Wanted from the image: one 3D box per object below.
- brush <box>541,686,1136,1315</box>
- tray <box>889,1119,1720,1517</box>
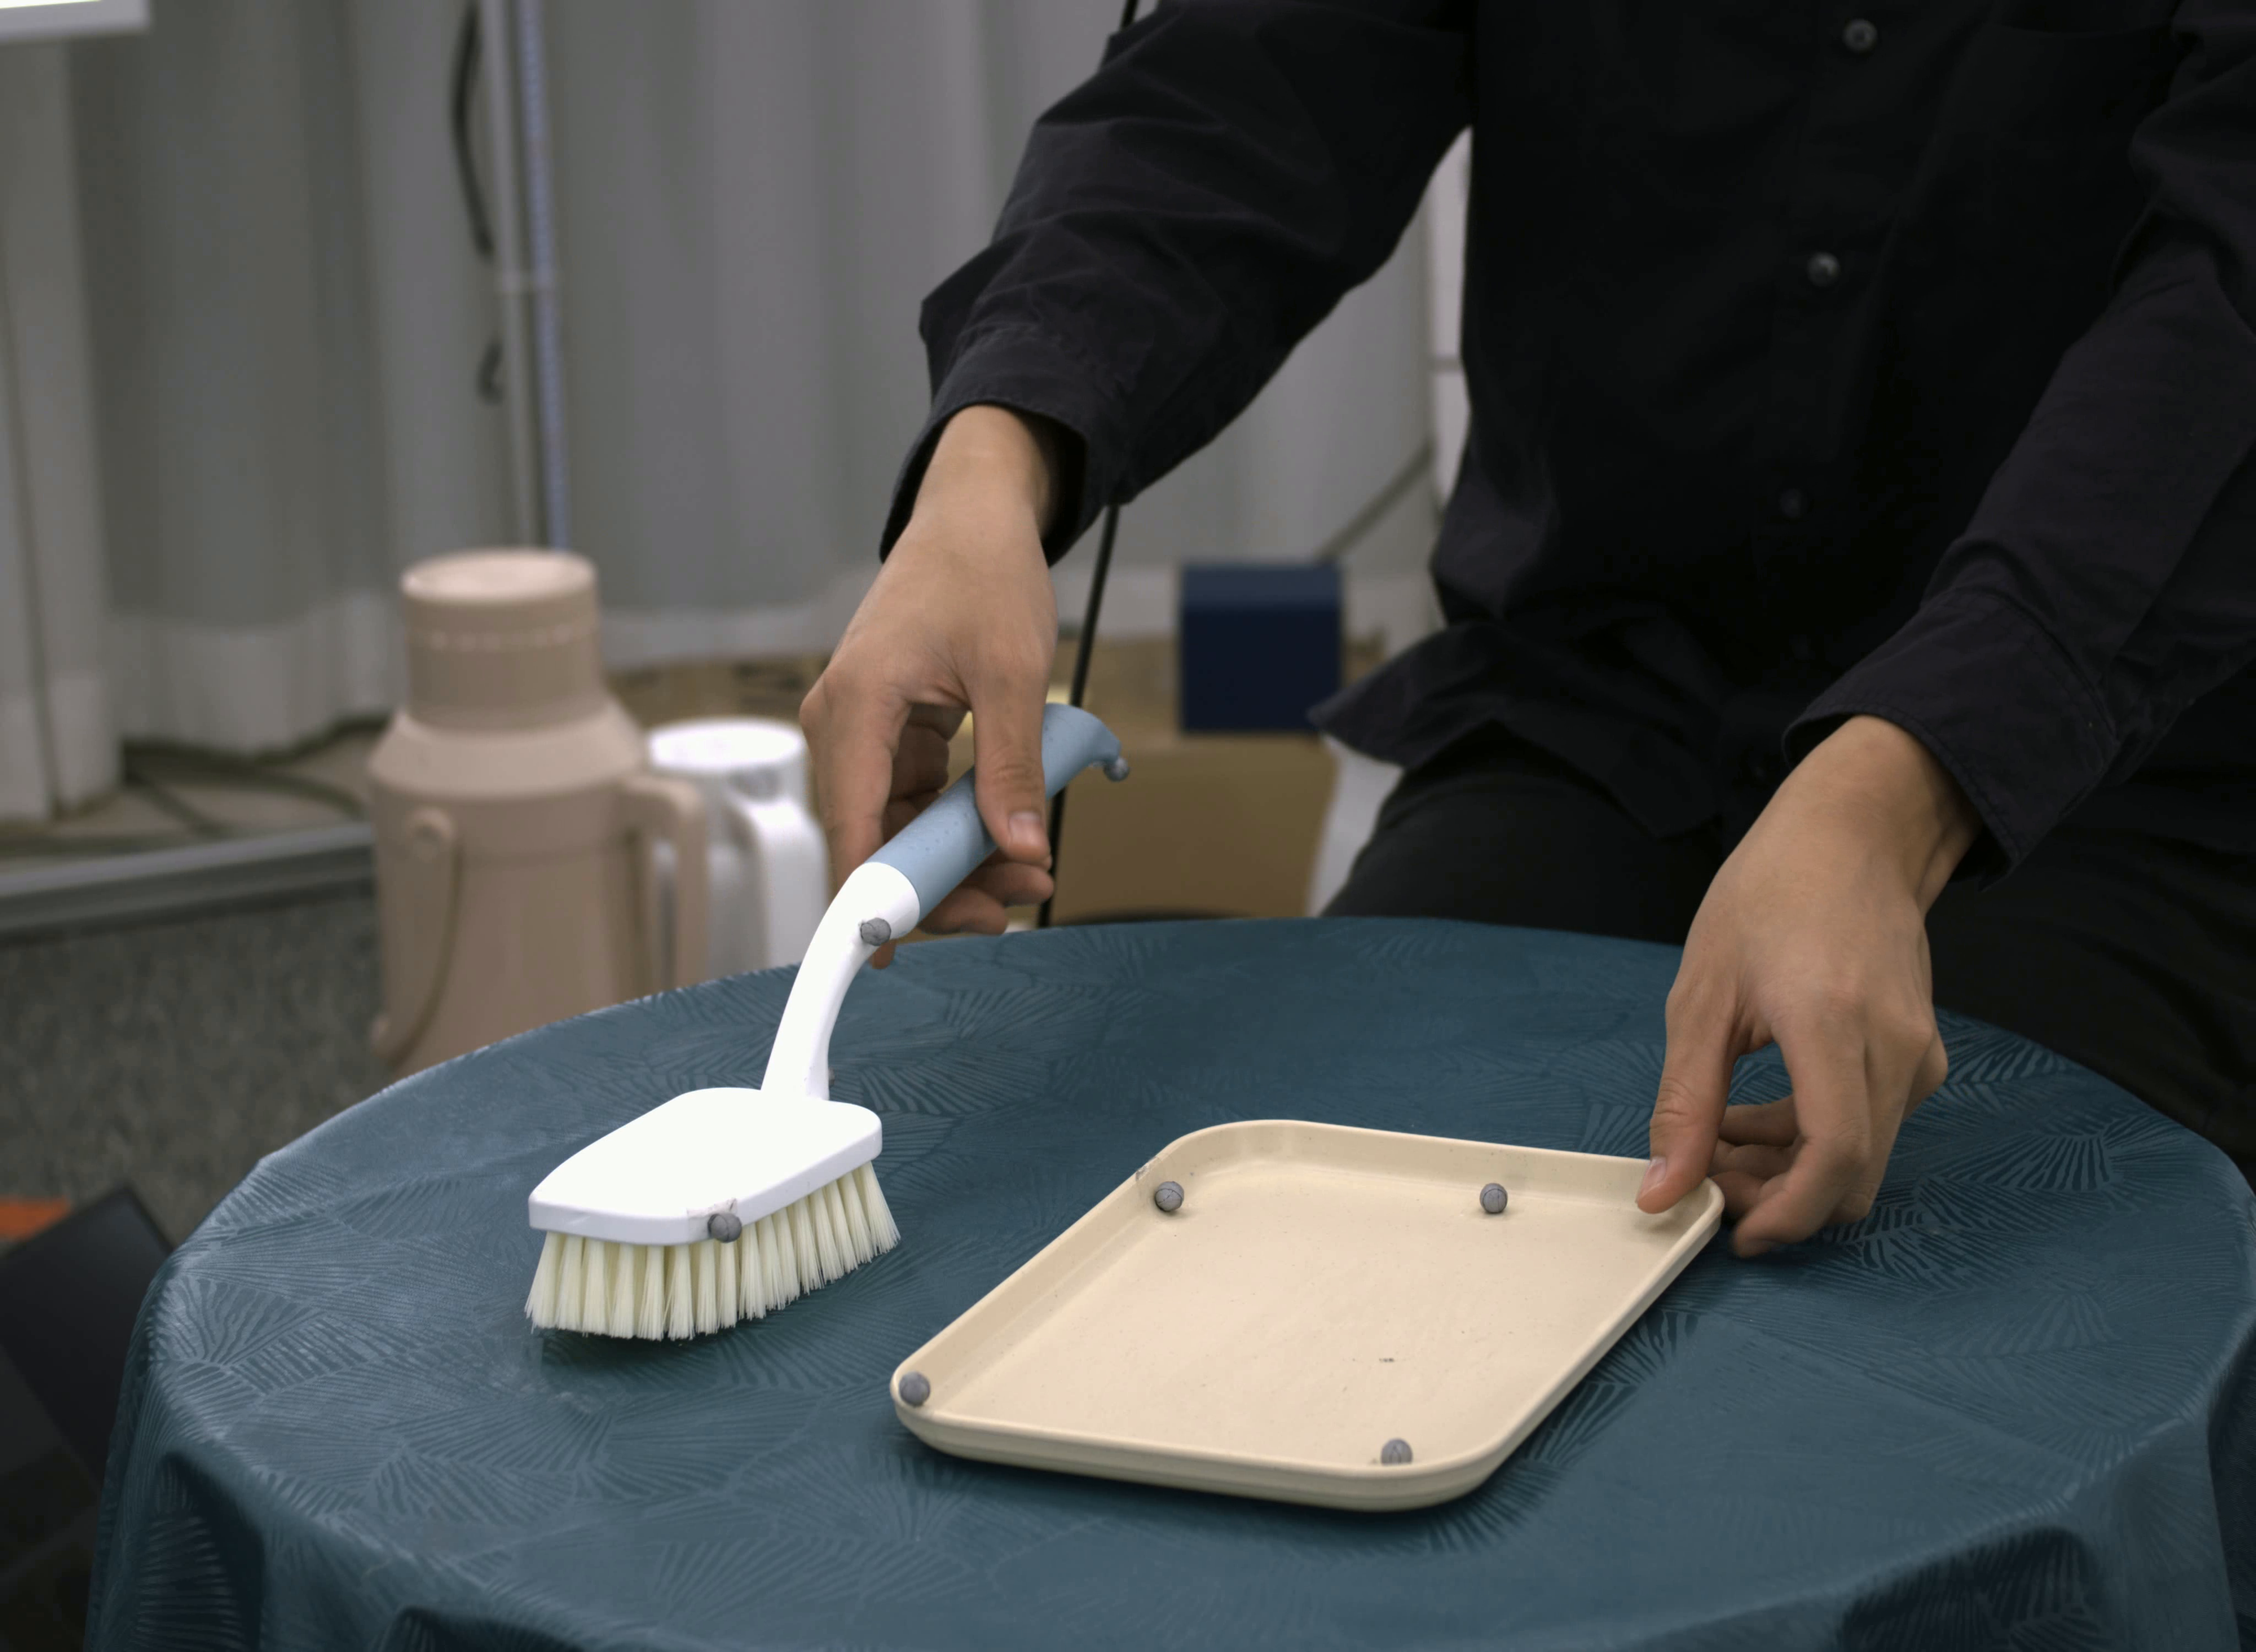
[{"bbox_3d":[-0.071,0.065,1.578,0.083,0.085,0.321,38,39,7],"label":"brush"},{"bbox_3d":[0.053,0.132,1.442,0.174,0.017,0.236,5,18,25],"label":"tray"}]
